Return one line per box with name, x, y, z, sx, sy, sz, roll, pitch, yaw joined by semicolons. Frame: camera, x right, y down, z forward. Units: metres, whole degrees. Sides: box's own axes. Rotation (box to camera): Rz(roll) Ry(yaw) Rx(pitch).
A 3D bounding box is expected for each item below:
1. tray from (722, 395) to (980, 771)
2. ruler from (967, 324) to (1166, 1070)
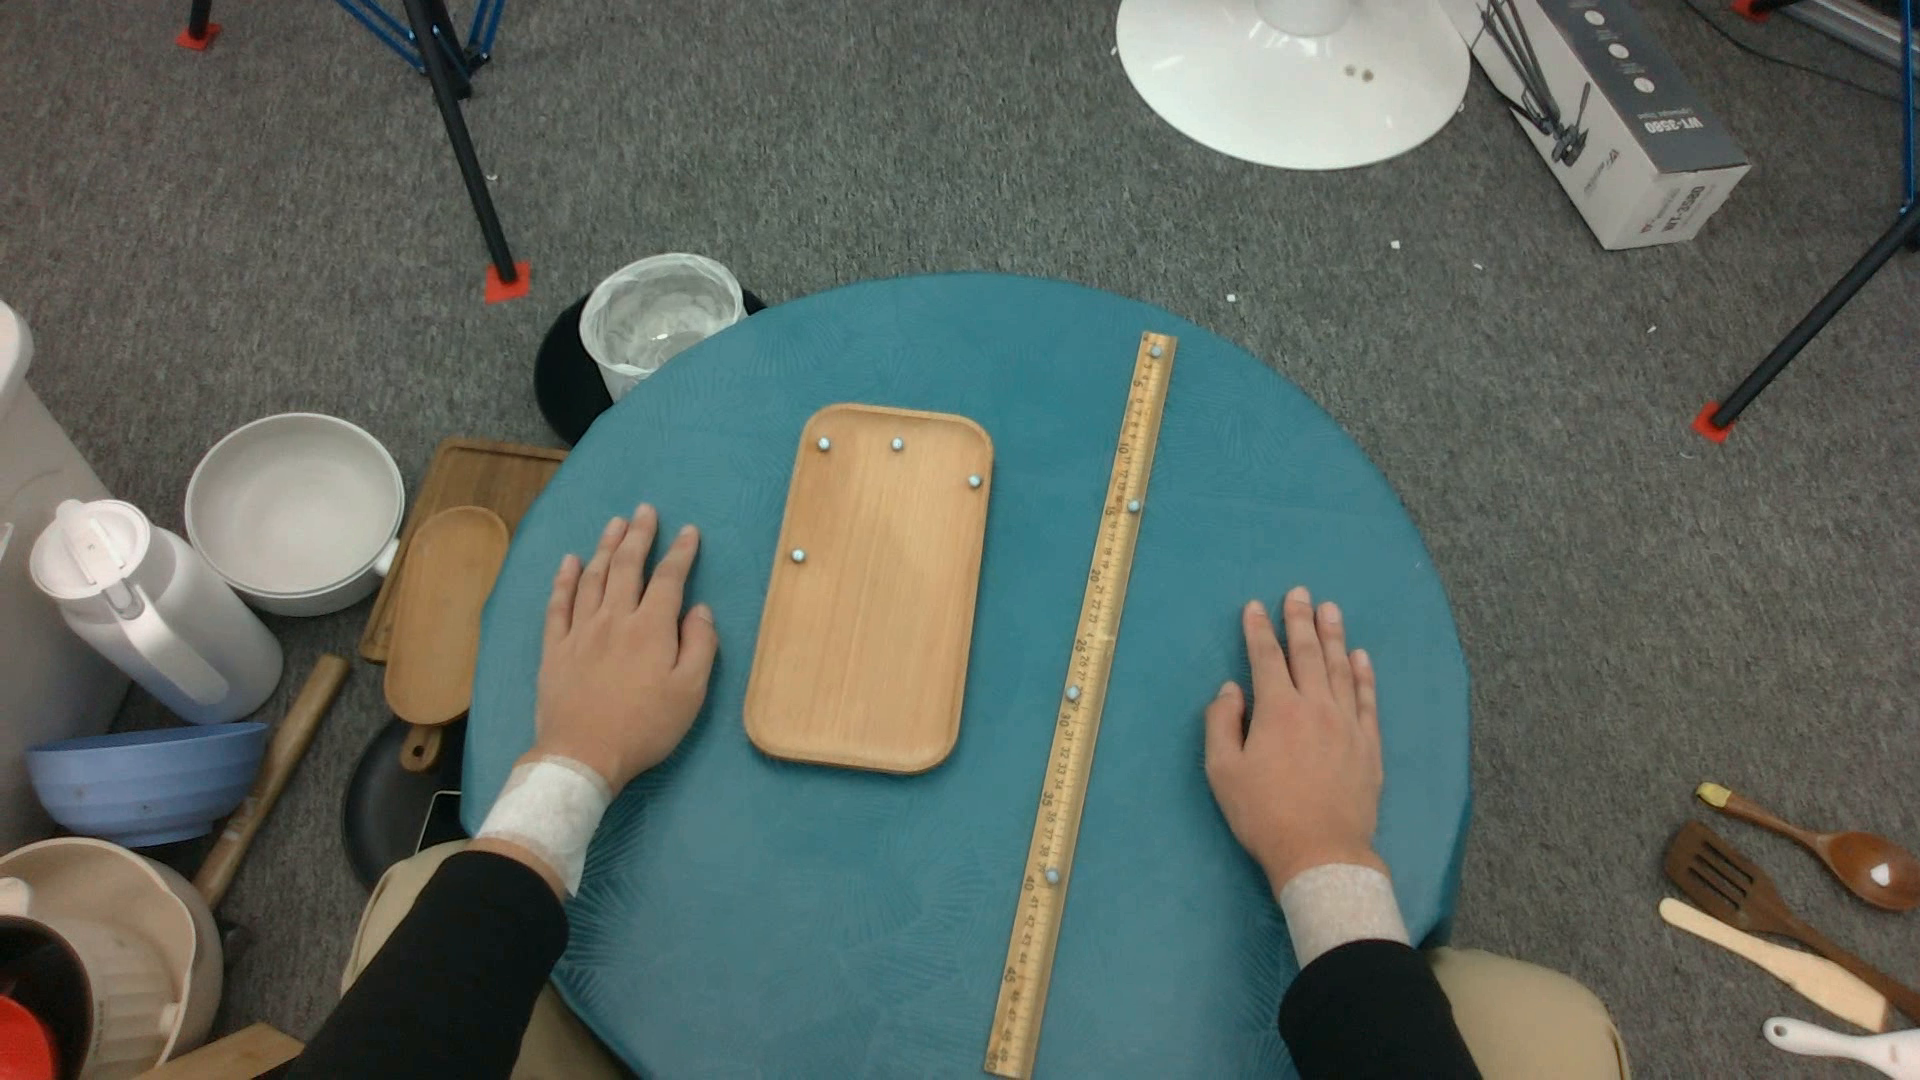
tray;-0.062;0.020;0.849;0.130;0.023;0.252;7;61;4
ruler;0.073;0.062;0.837;0.027;0.006;0.502;12;60;7
